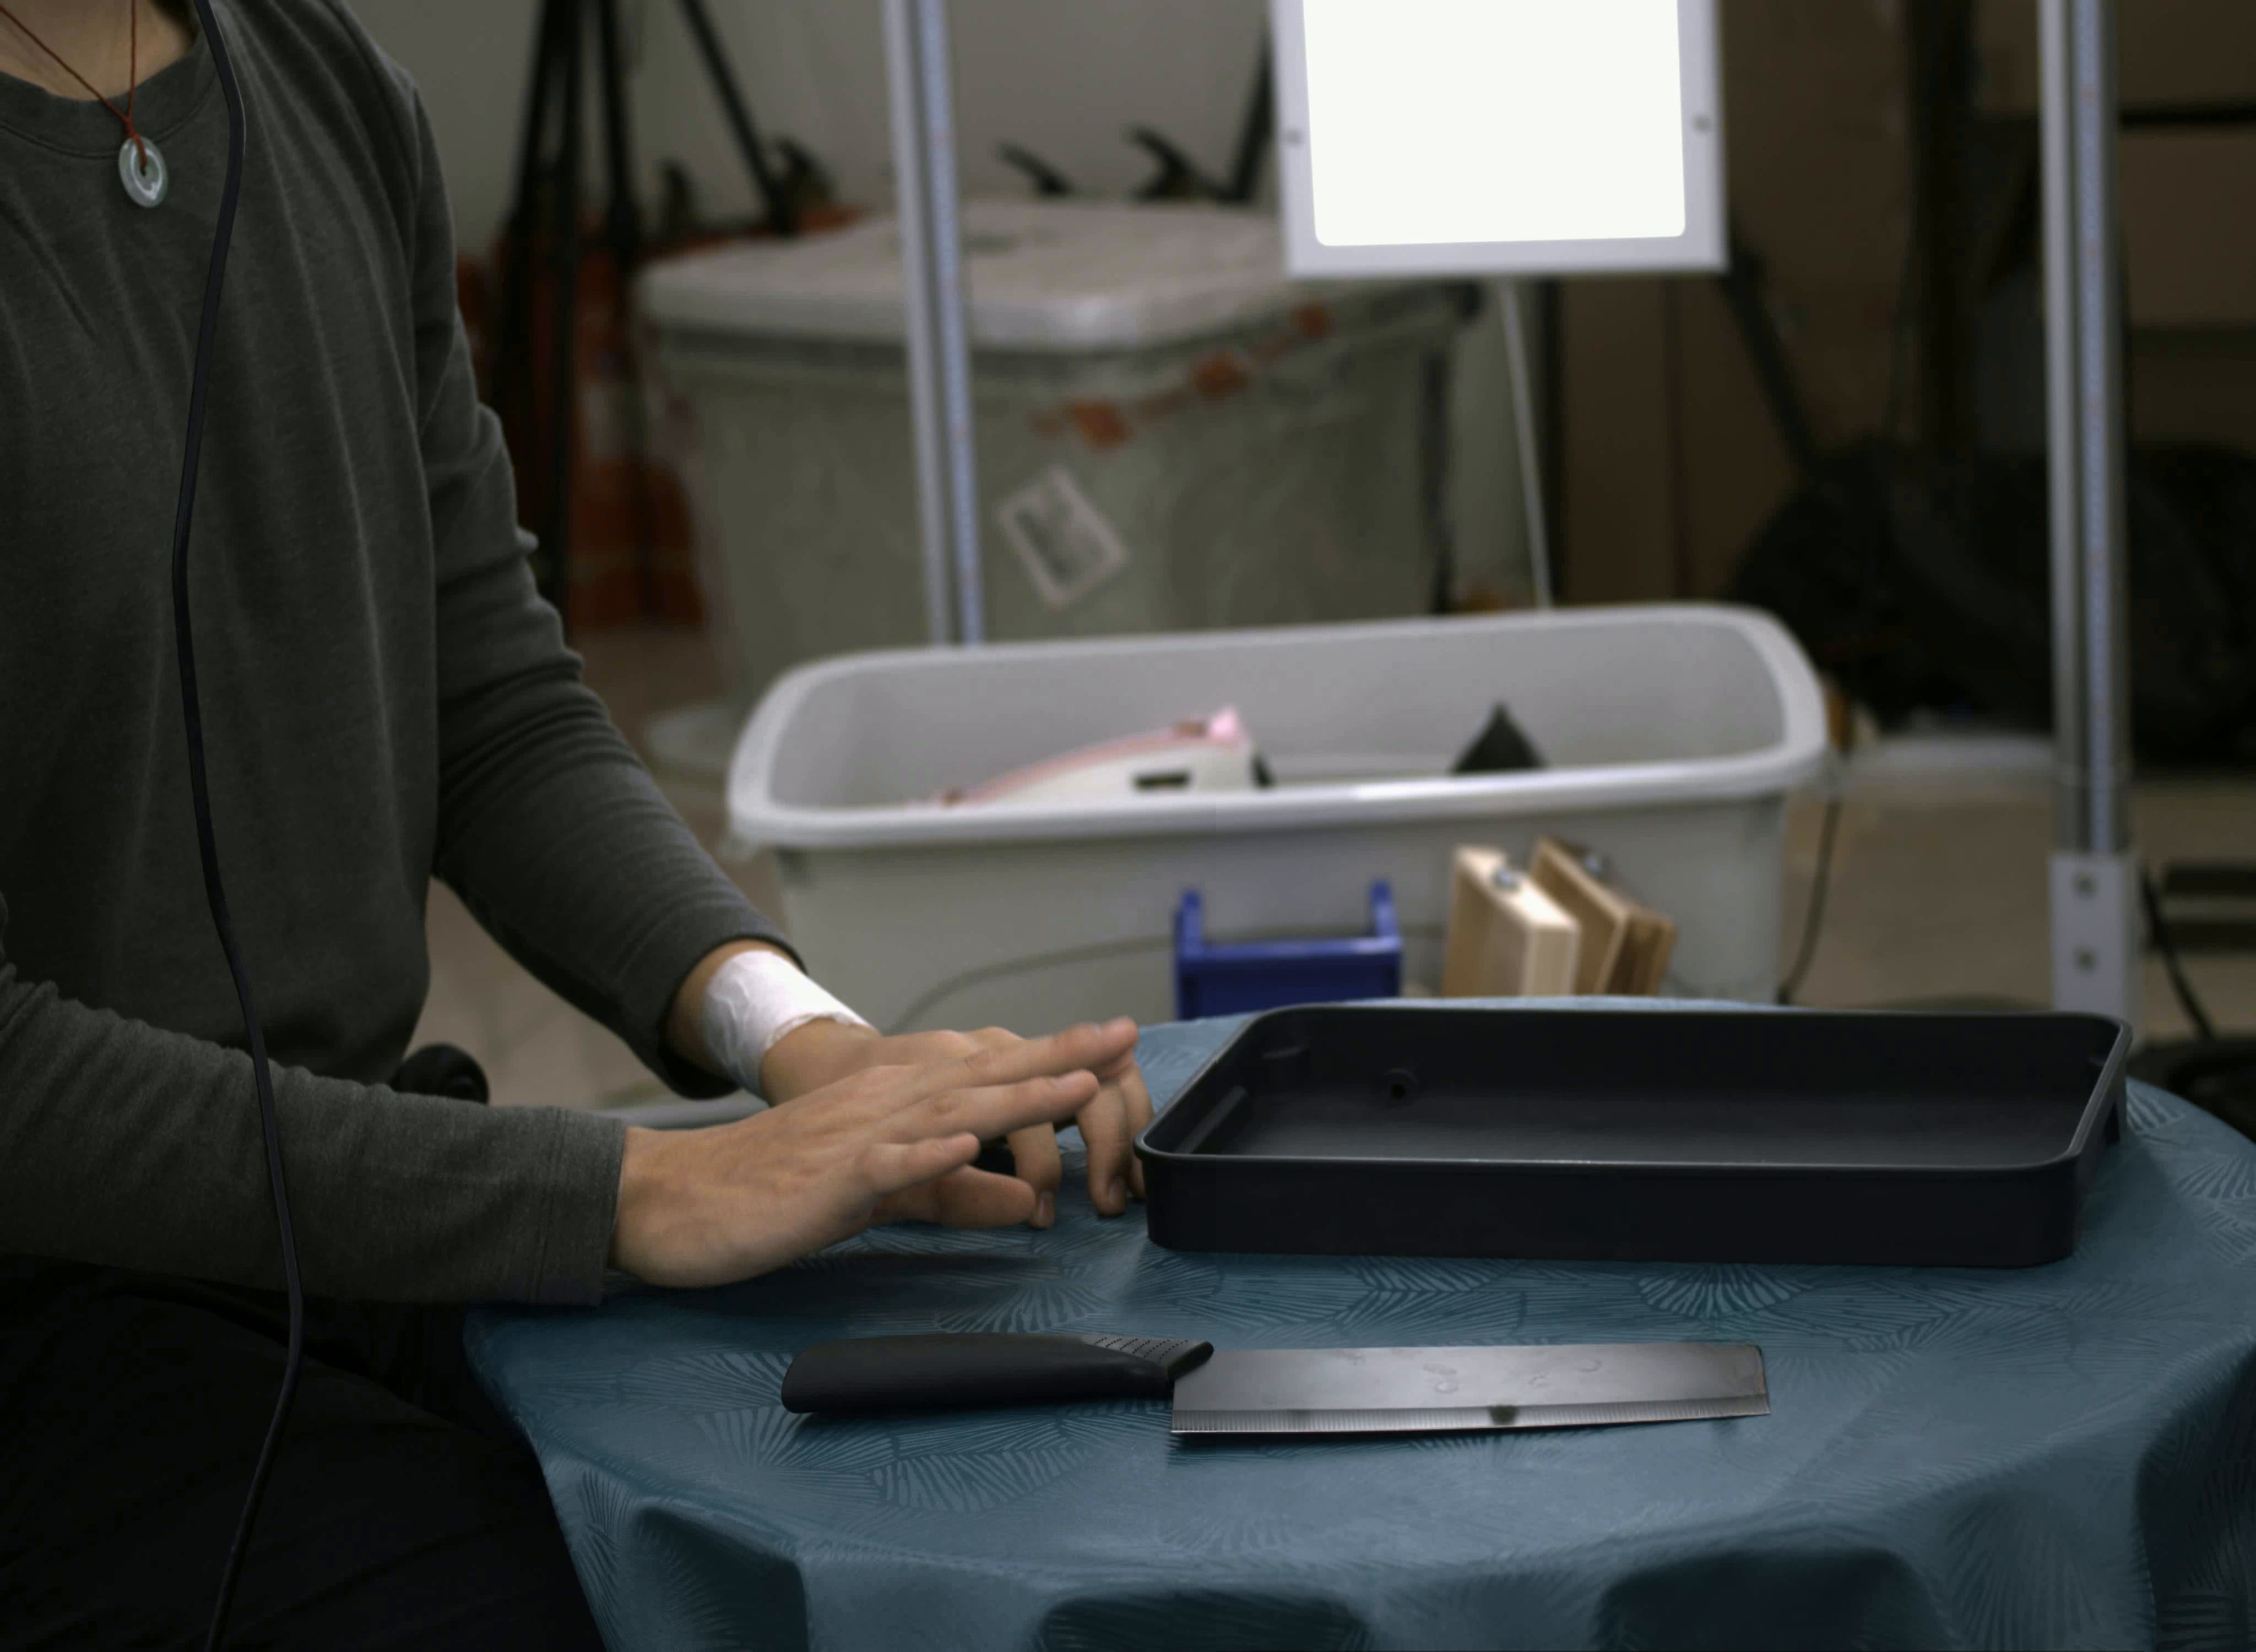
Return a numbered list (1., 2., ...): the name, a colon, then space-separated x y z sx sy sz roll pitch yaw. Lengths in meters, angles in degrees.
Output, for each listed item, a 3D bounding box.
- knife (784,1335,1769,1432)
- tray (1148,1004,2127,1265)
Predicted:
1. knife: 0.045 0.170 1.679 0.304 0.021 0.080 -1 15 10
2. tray: 0.179 0.102 1.861 0.321 0.037 0.181 -1 14 18
